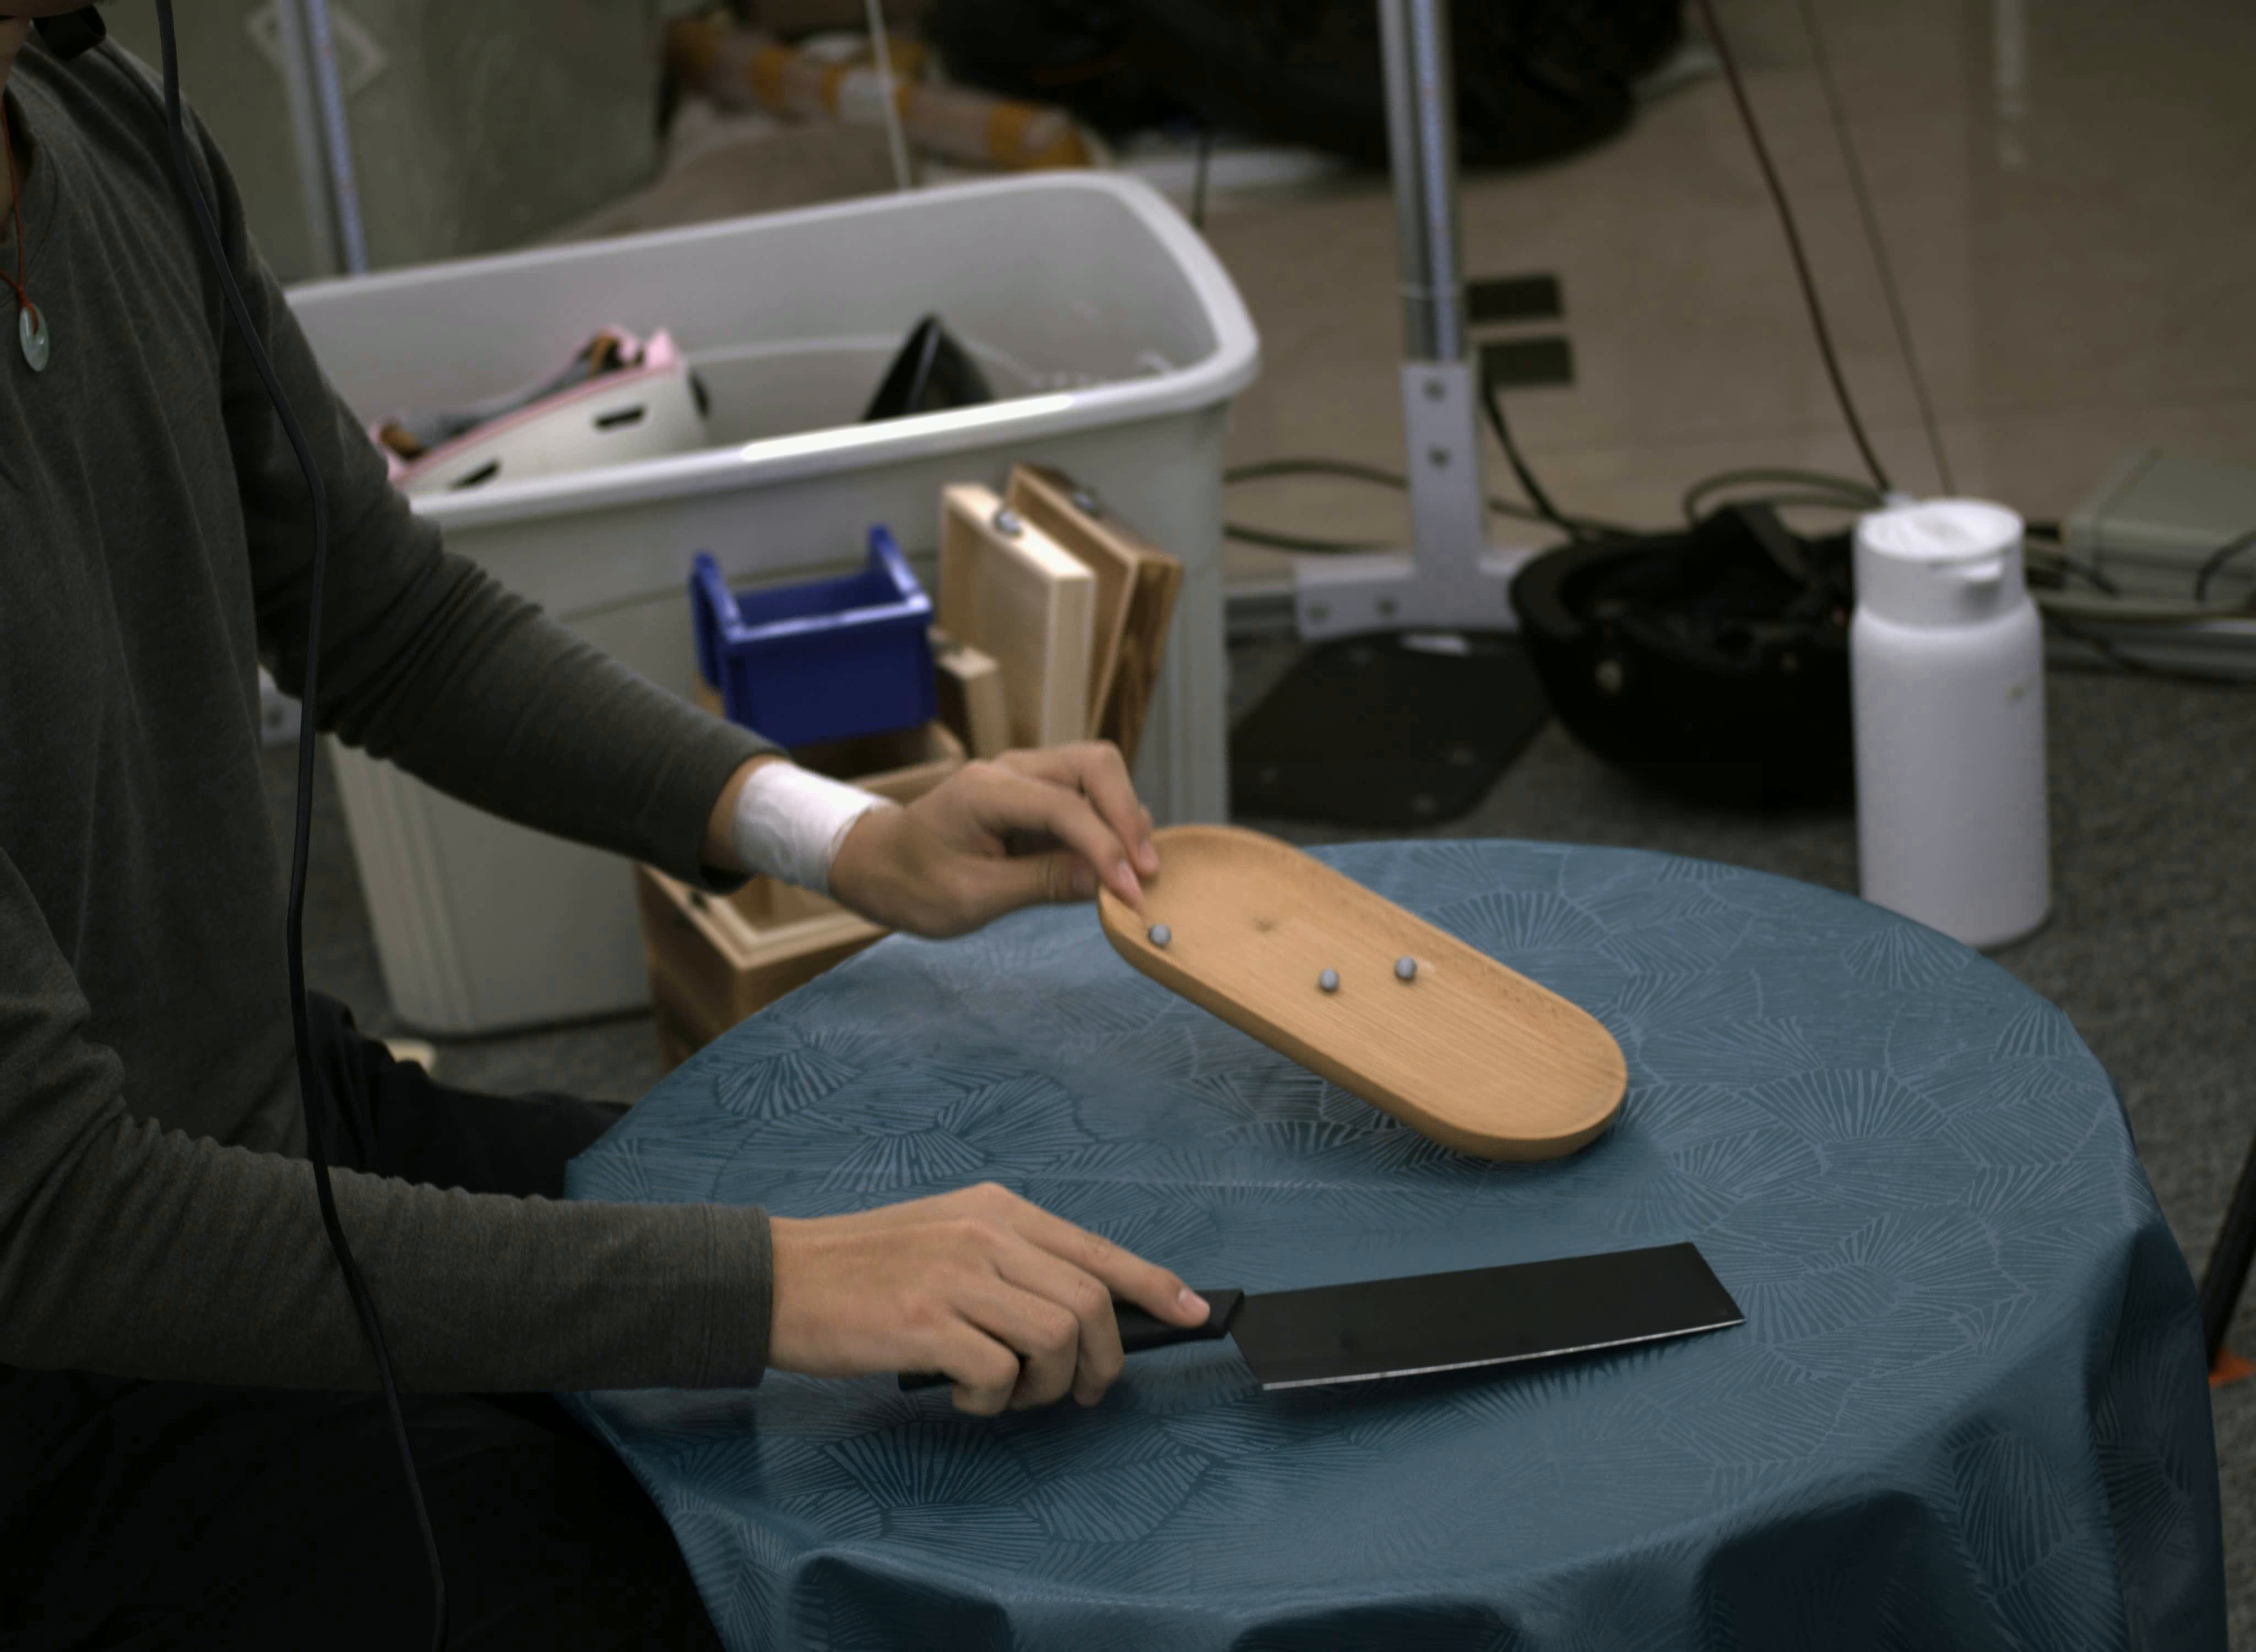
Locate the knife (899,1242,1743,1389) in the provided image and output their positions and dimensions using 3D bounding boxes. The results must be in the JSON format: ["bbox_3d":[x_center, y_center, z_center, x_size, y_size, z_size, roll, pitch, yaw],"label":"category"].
[{"bbox_3d":[0.067,0.177,2.011,0.302,0.021,0.080,-4,23,-9],"label":"knife"}]

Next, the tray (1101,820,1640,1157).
[{"bbox_3d":[0.092,0.062,2.189,0.229,0.021,0.100,29,43,22],"label":"tray"}]
